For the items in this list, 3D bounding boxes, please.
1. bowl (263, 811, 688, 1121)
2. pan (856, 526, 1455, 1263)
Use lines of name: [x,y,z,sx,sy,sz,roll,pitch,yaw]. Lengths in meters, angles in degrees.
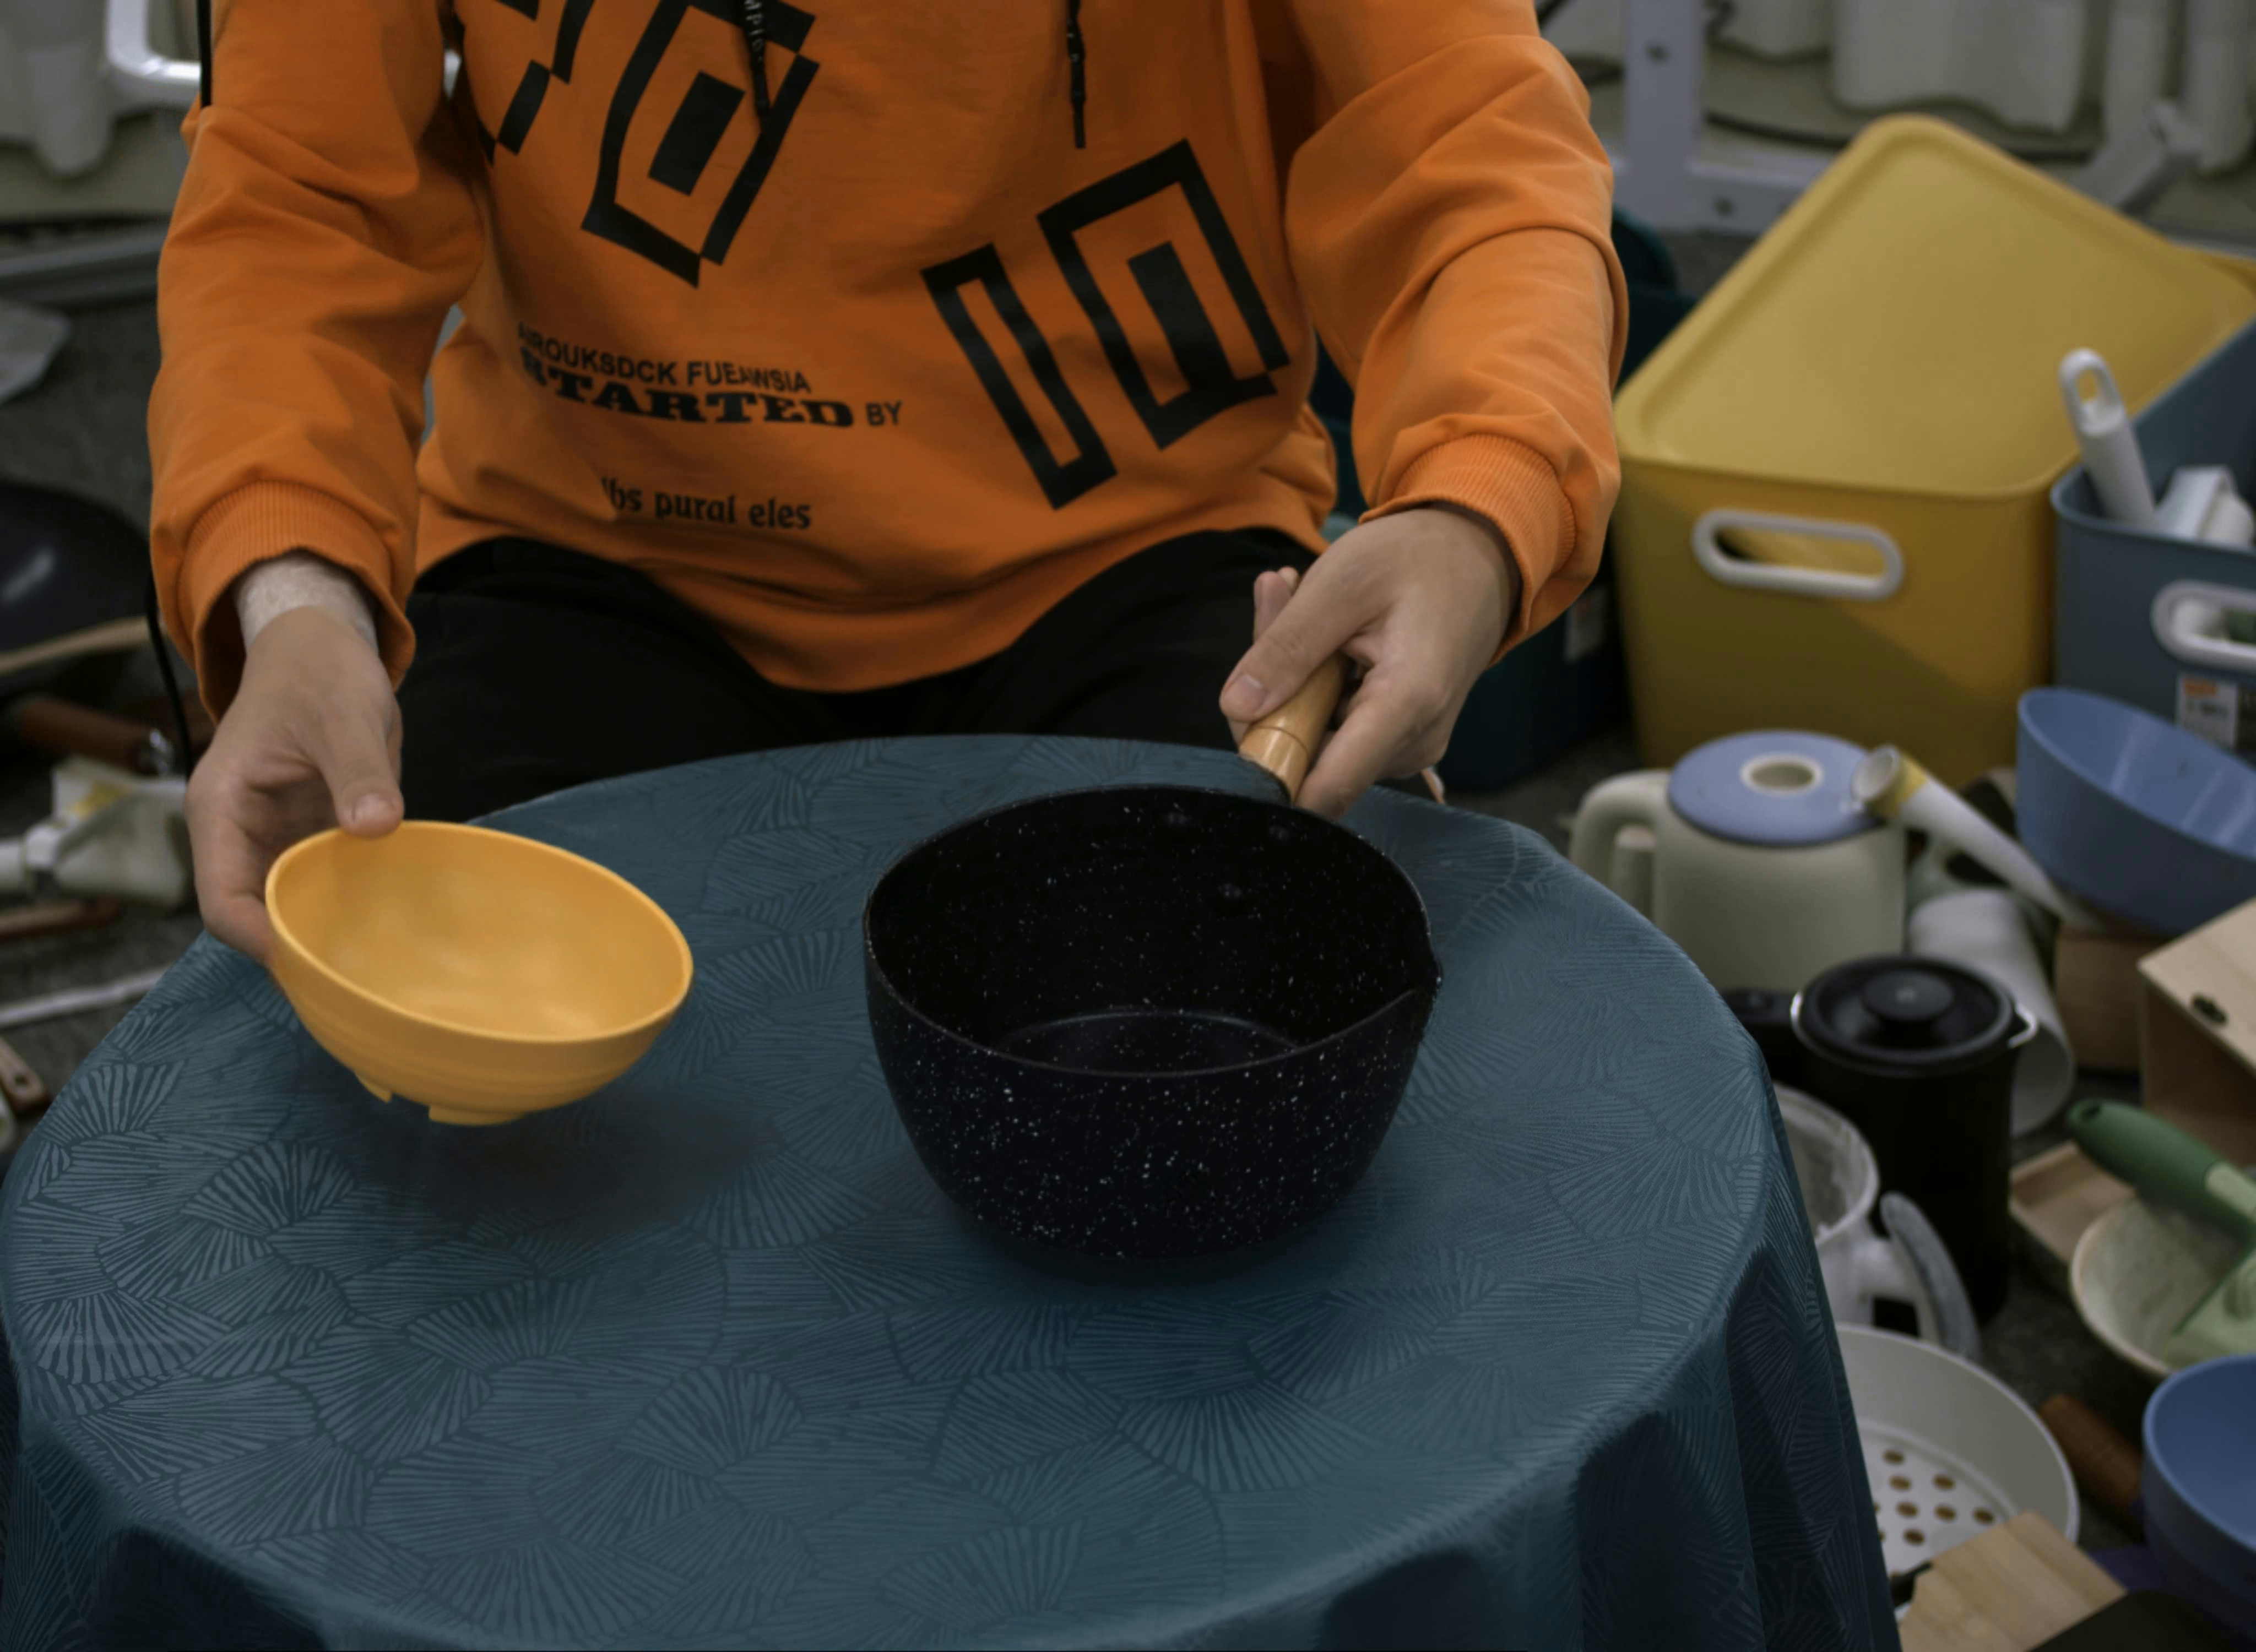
bowl: [-0.224,0.056,1.875,0.145,0.059,0.147,15,23,-6]
pan: [0.030,0.019,1.906,0.206,0.107,0.349,8,31,16]
